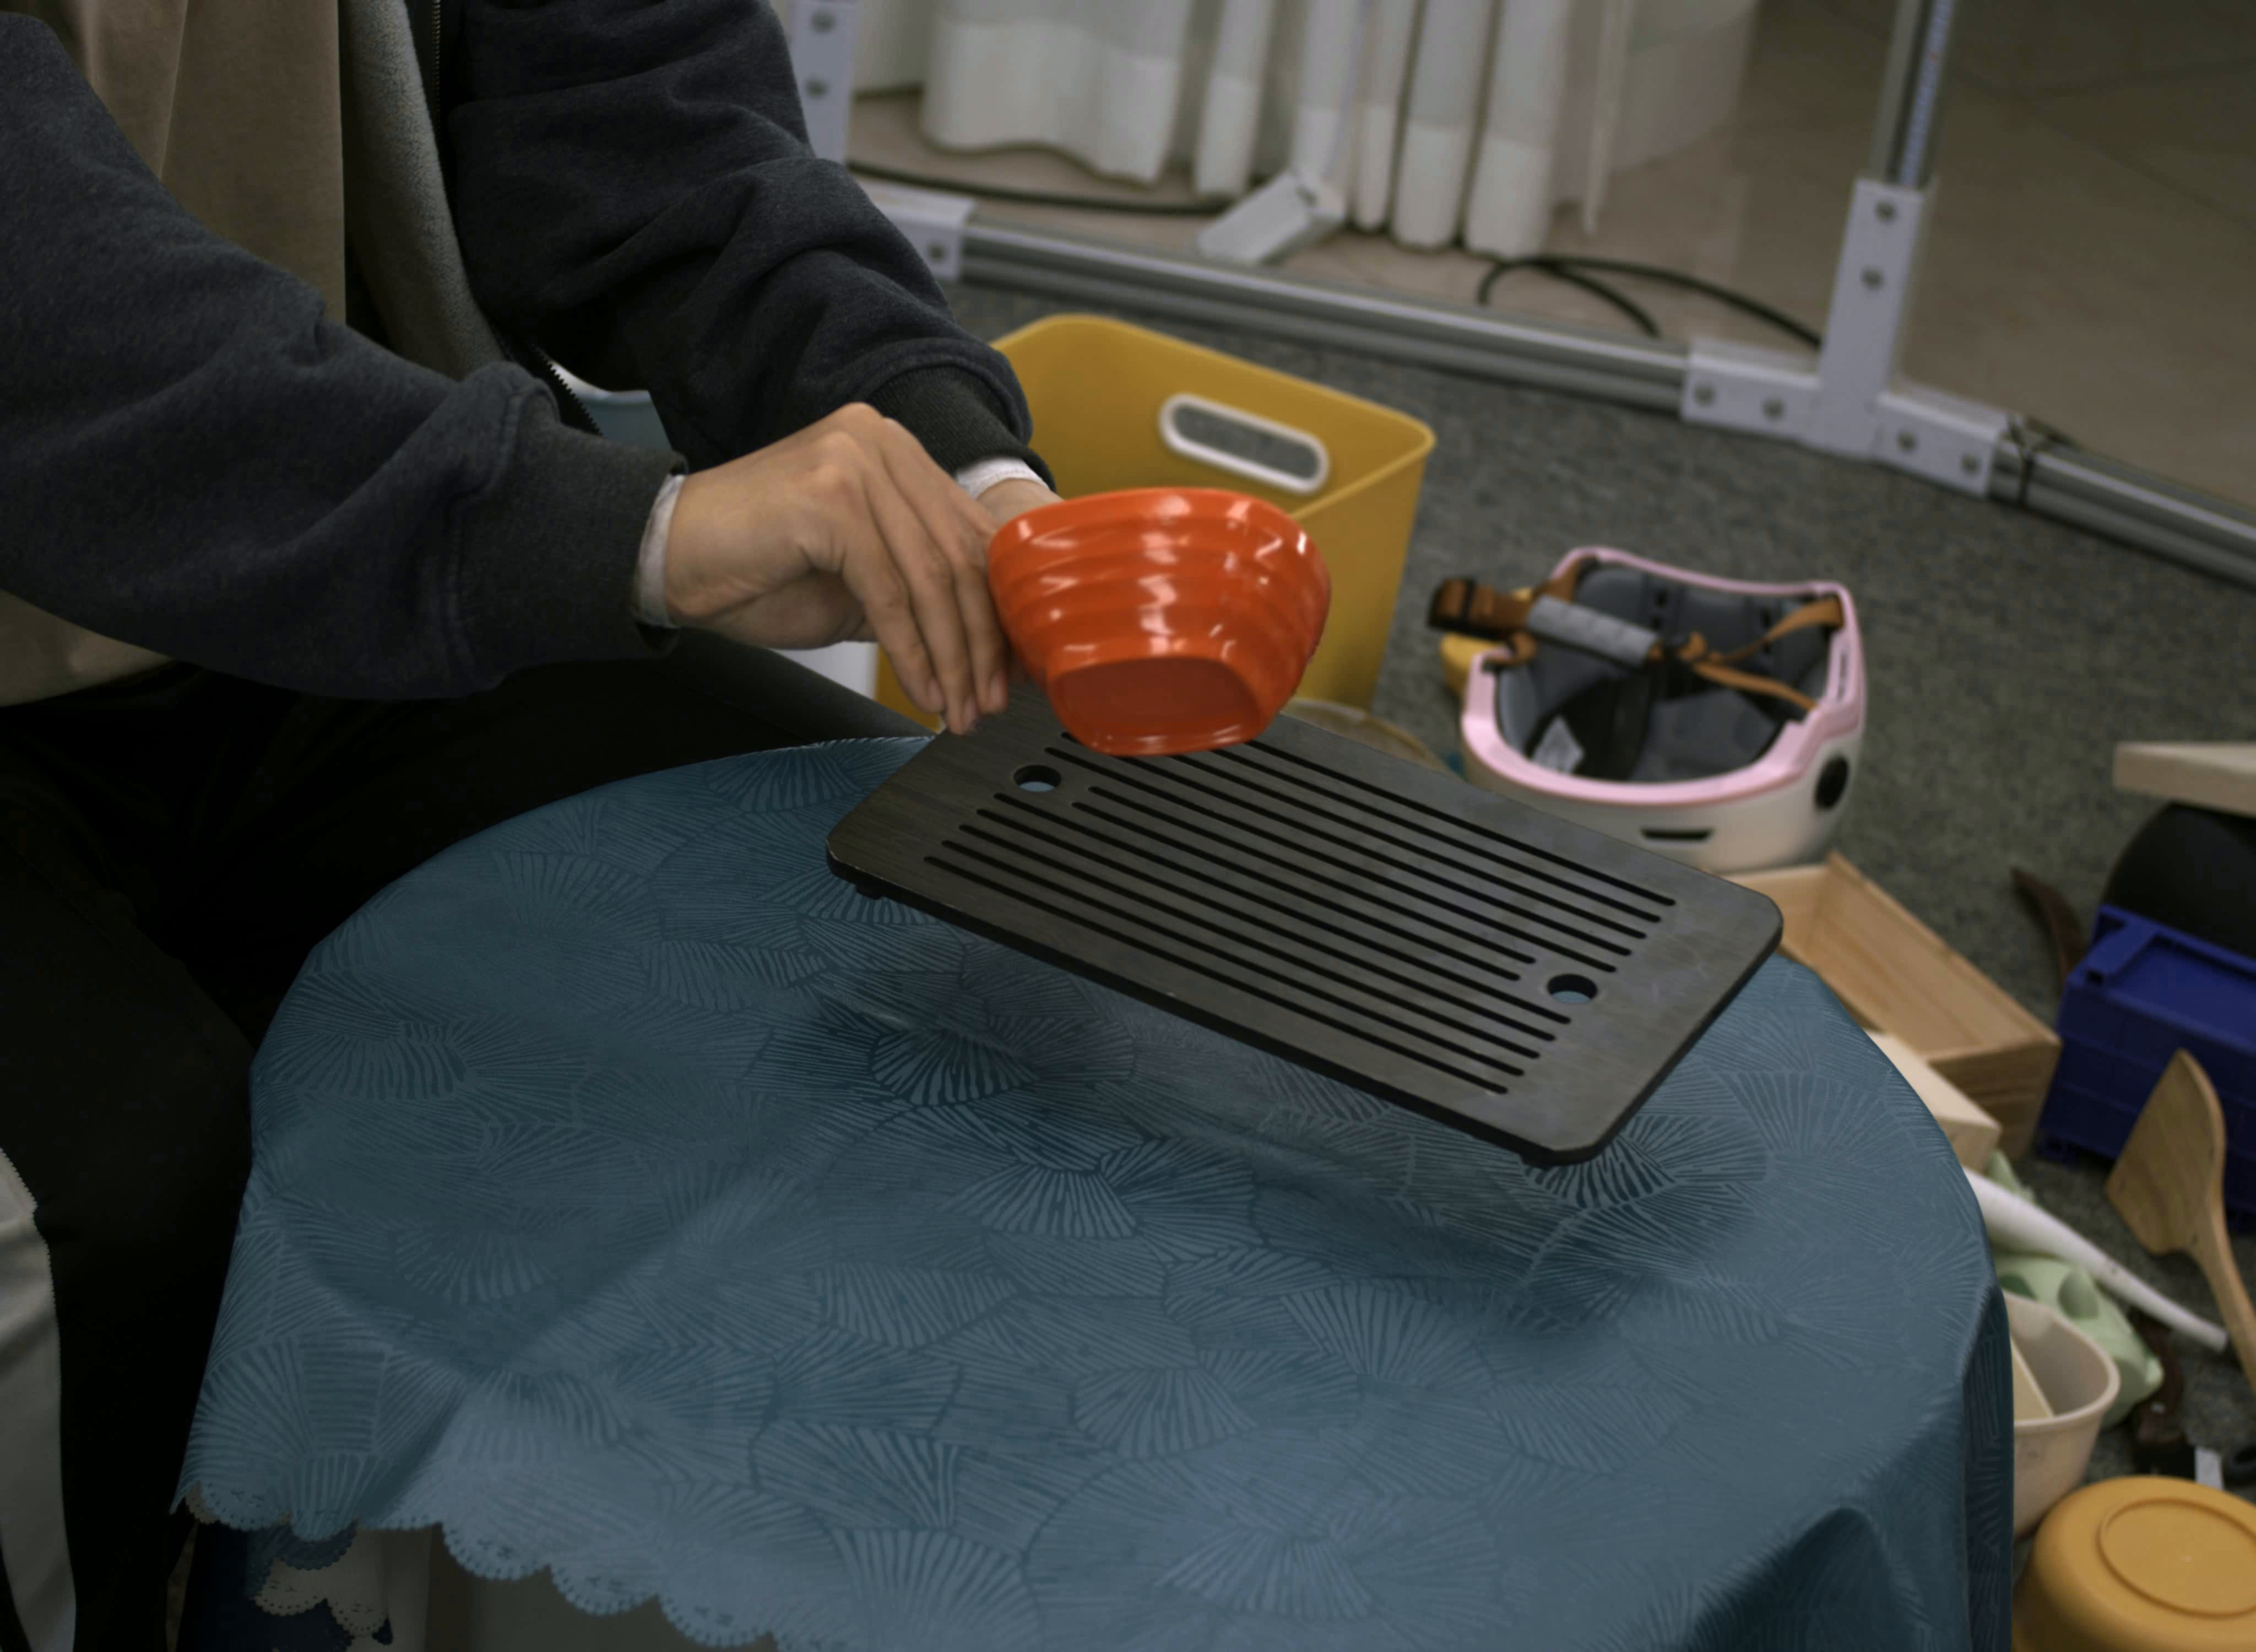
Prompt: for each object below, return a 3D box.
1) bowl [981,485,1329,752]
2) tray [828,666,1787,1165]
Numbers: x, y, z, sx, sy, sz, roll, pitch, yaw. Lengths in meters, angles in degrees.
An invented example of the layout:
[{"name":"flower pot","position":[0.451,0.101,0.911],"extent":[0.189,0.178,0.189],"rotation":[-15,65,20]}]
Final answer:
[{"name":"bowl","position":[0.008,-0.061,1.714],"extent":[0.118,0.118,0.052],"rotation":[5,65,-5]},{"name":"tray","position":[0.062,0.024,1.869],"extent":[0.307,0.018,0.170],"rotation":[21,39,24]}]
